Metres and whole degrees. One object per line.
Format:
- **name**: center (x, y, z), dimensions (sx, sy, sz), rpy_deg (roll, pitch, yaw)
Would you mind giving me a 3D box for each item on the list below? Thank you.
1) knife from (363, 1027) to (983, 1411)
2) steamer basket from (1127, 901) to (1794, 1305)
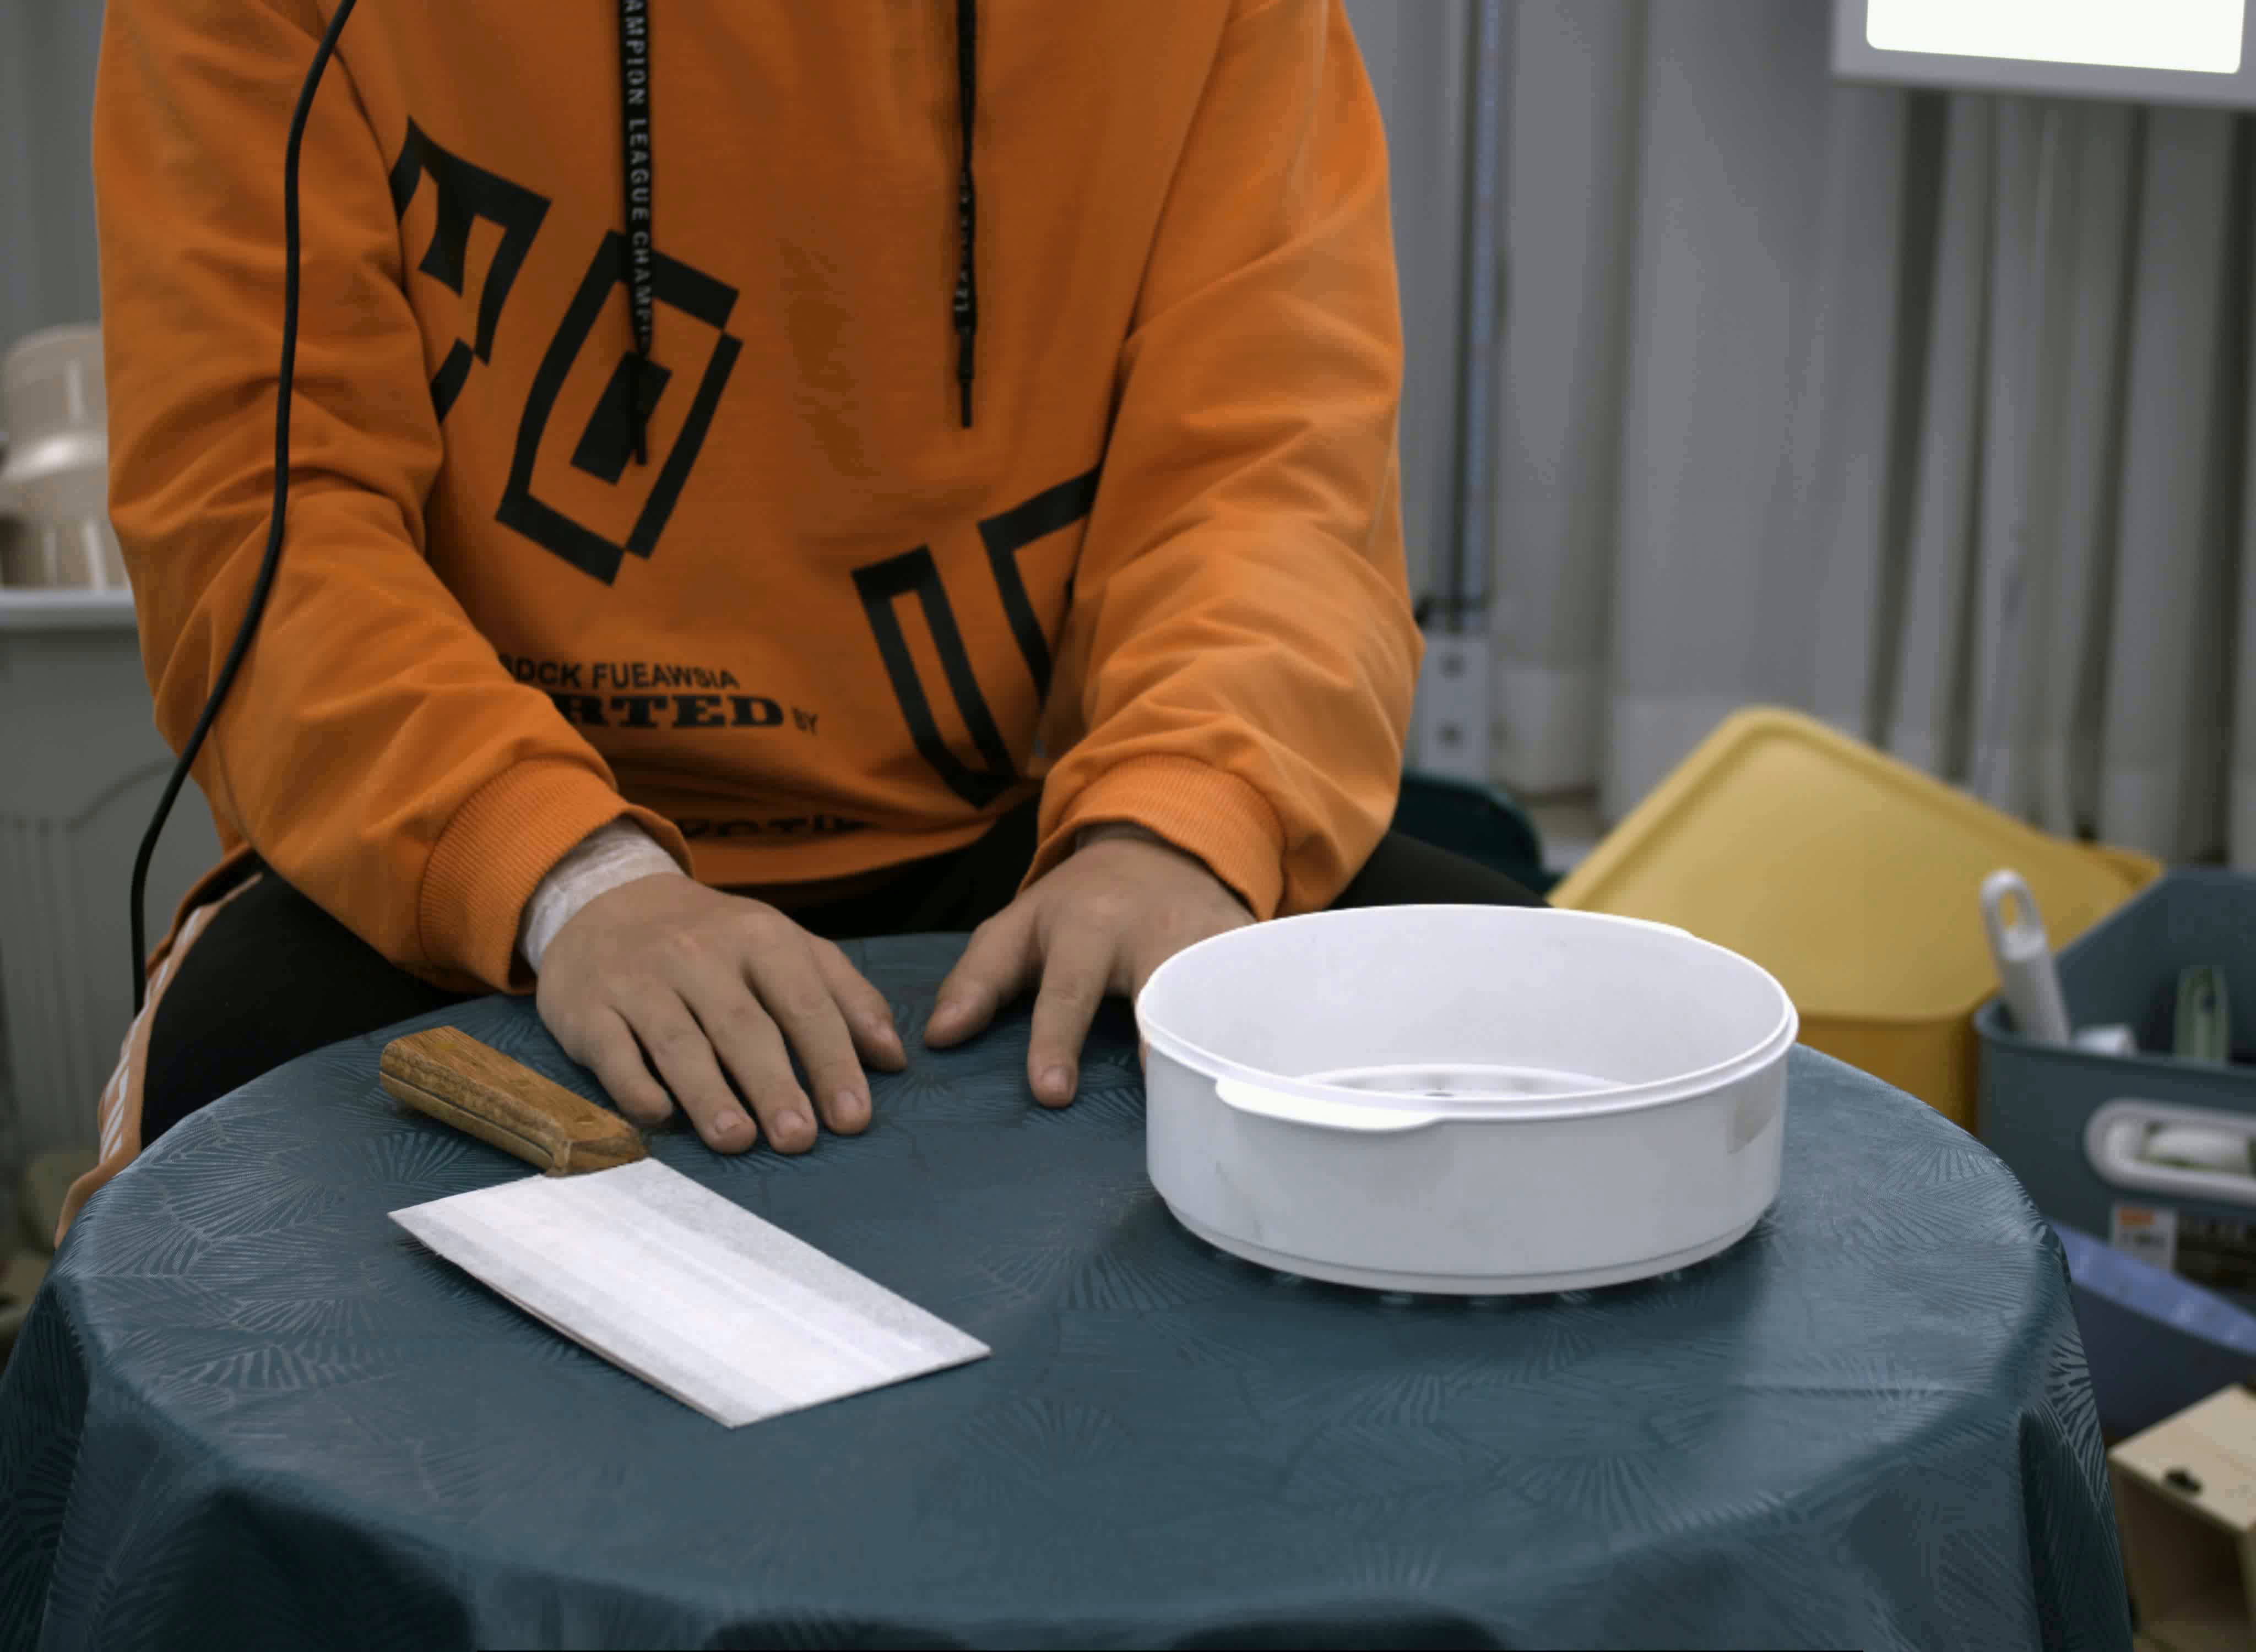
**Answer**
- **knife**: center (-0.163, 0.117, 1.572), dimensions (0.093, 0.021, 0.301), rpy_deg (-13, 23, -35)
- **steamer basket**: center (0.101, 0.084, 1.599), dimensions (0.199, 0.070, 0.231), rpy_deg (8, 19, 27)
